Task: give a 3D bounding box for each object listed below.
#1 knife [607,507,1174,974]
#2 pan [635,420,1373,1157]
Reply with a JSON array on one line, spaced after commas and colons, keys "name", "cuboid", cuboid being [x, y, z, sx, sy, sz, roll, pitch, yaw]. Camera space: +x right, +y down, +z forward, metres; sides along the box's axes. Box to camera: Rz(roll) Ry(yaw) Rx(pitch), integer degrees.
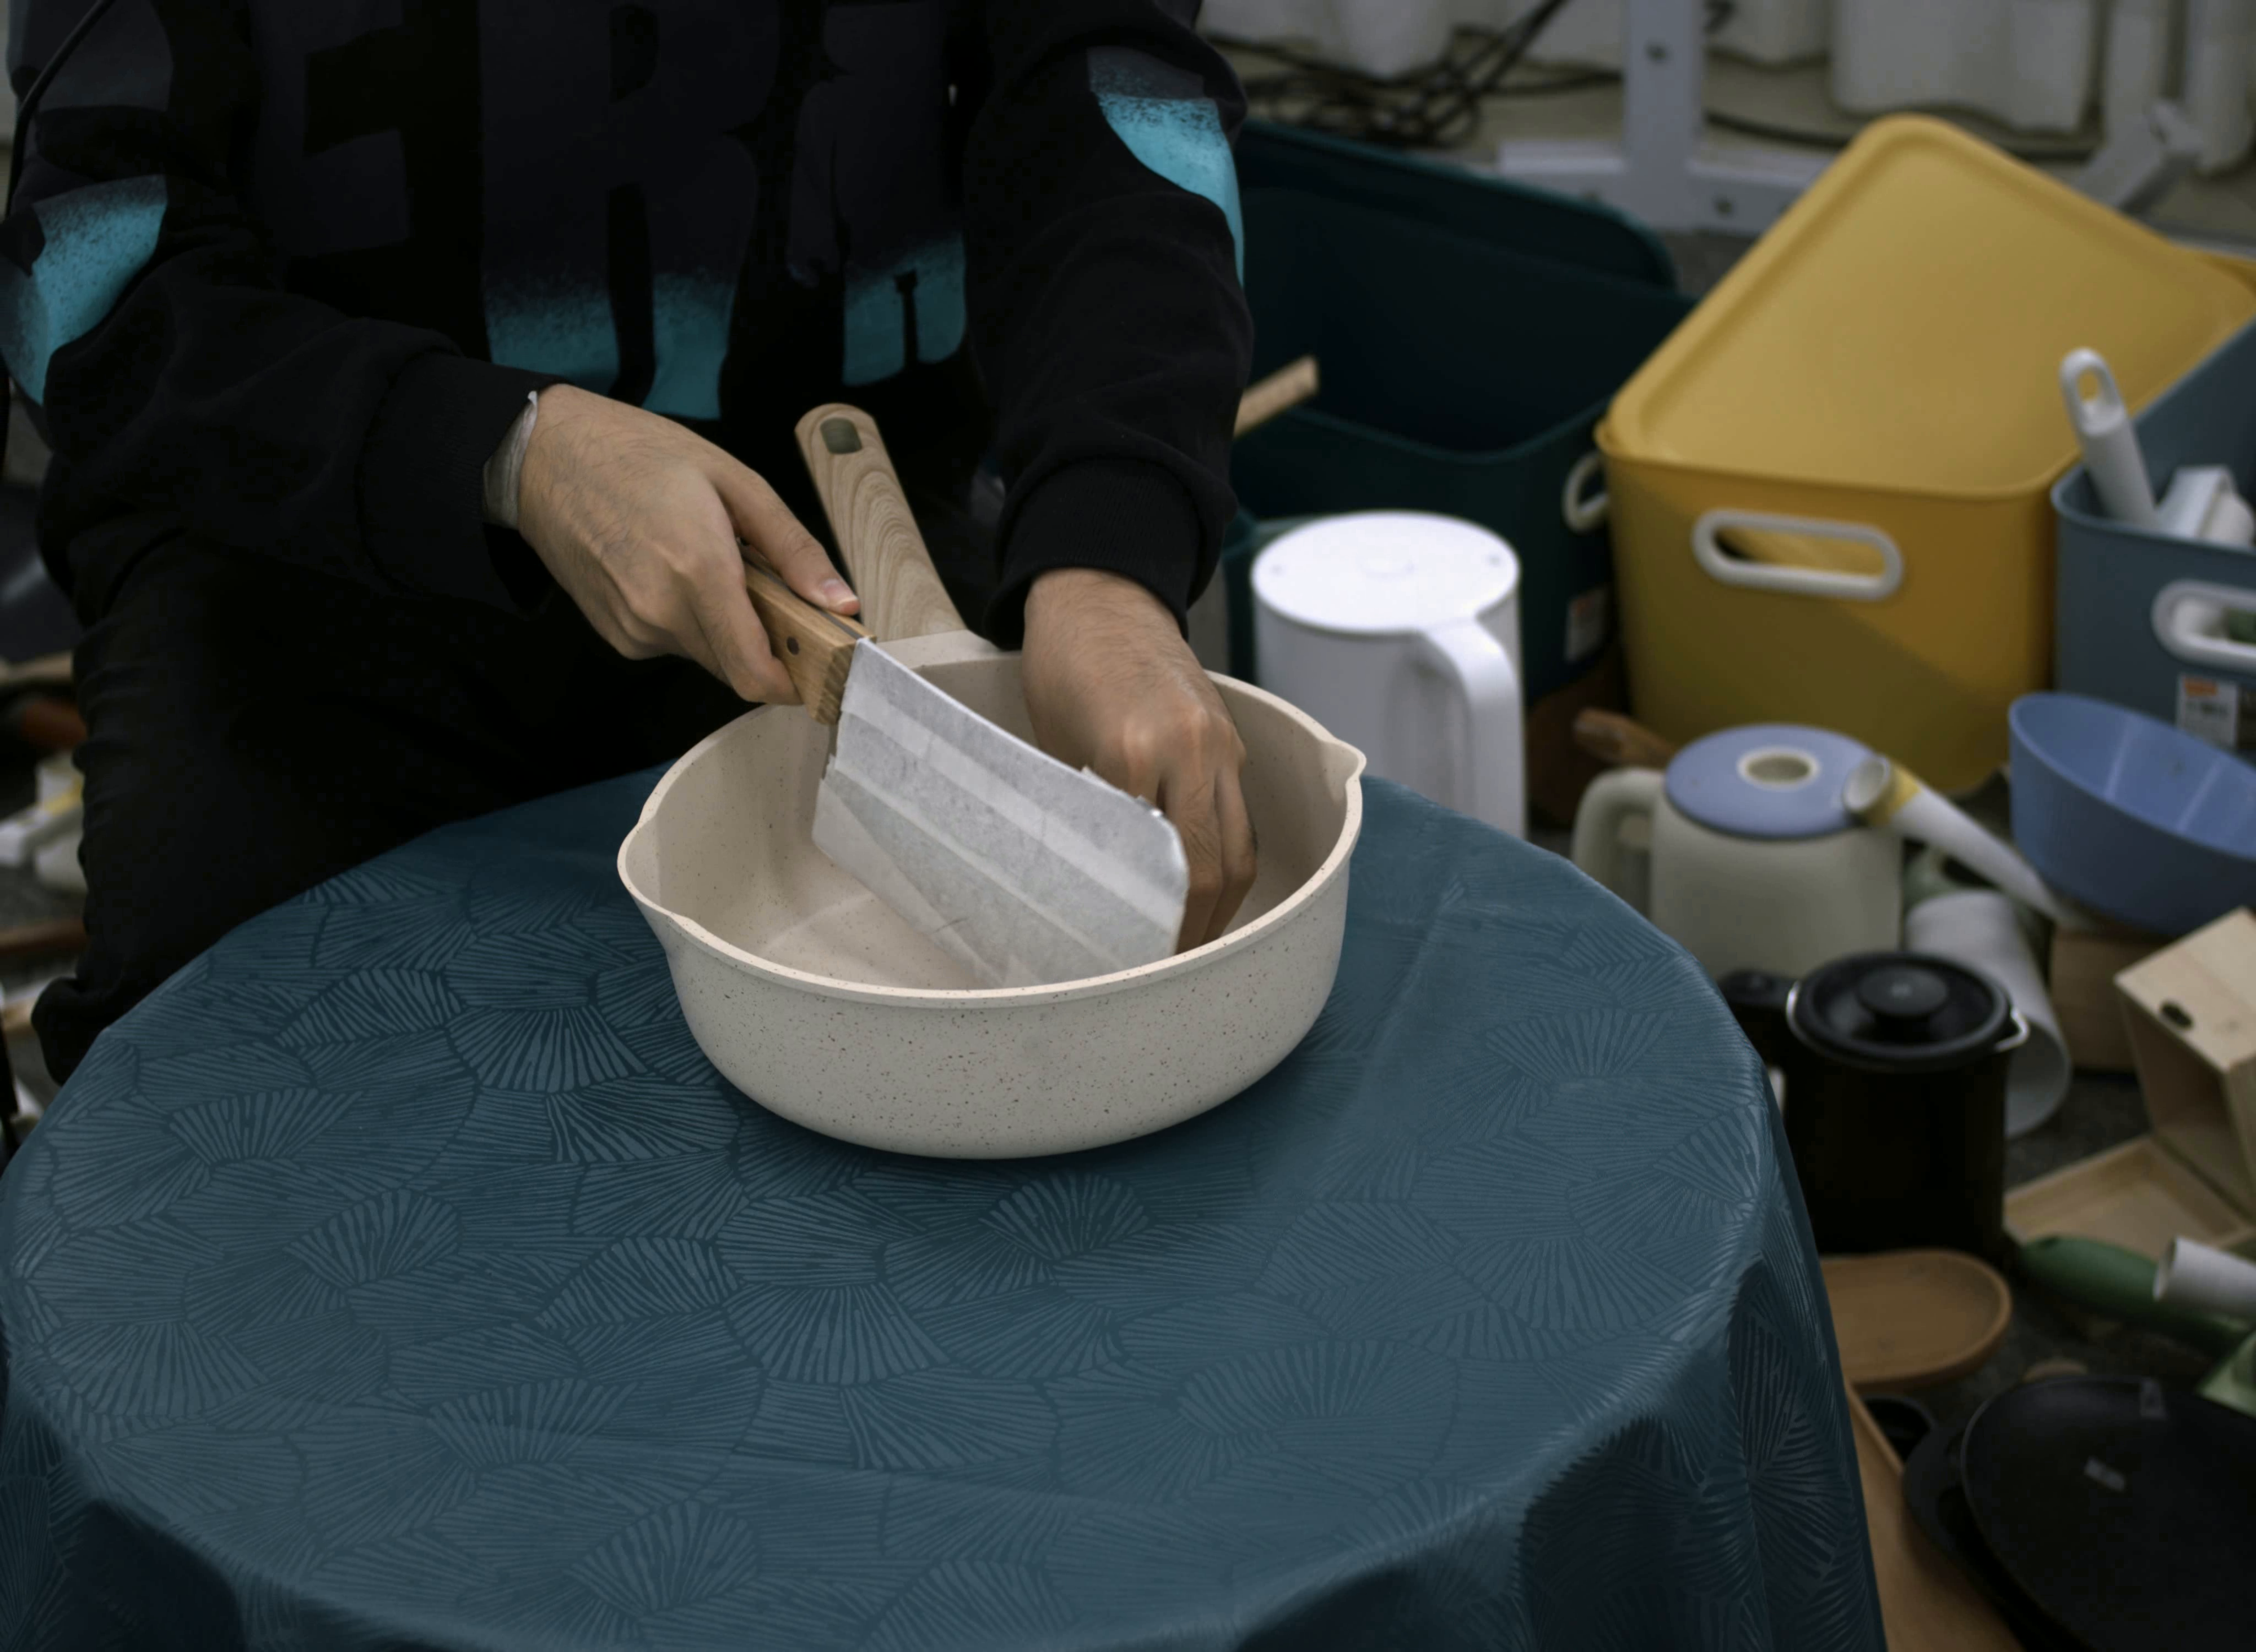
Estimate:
[{"name": "knife", "cuboid": [-0.084, -0.025, 1.965, 0.022, 0.112, 0.317, -12, 39, -41]}, {"name": "pan", "cuboid": [-0.061, -0.018, 2.029, 0.263, 0.101, 0.439, -11, 29, -11]}]
